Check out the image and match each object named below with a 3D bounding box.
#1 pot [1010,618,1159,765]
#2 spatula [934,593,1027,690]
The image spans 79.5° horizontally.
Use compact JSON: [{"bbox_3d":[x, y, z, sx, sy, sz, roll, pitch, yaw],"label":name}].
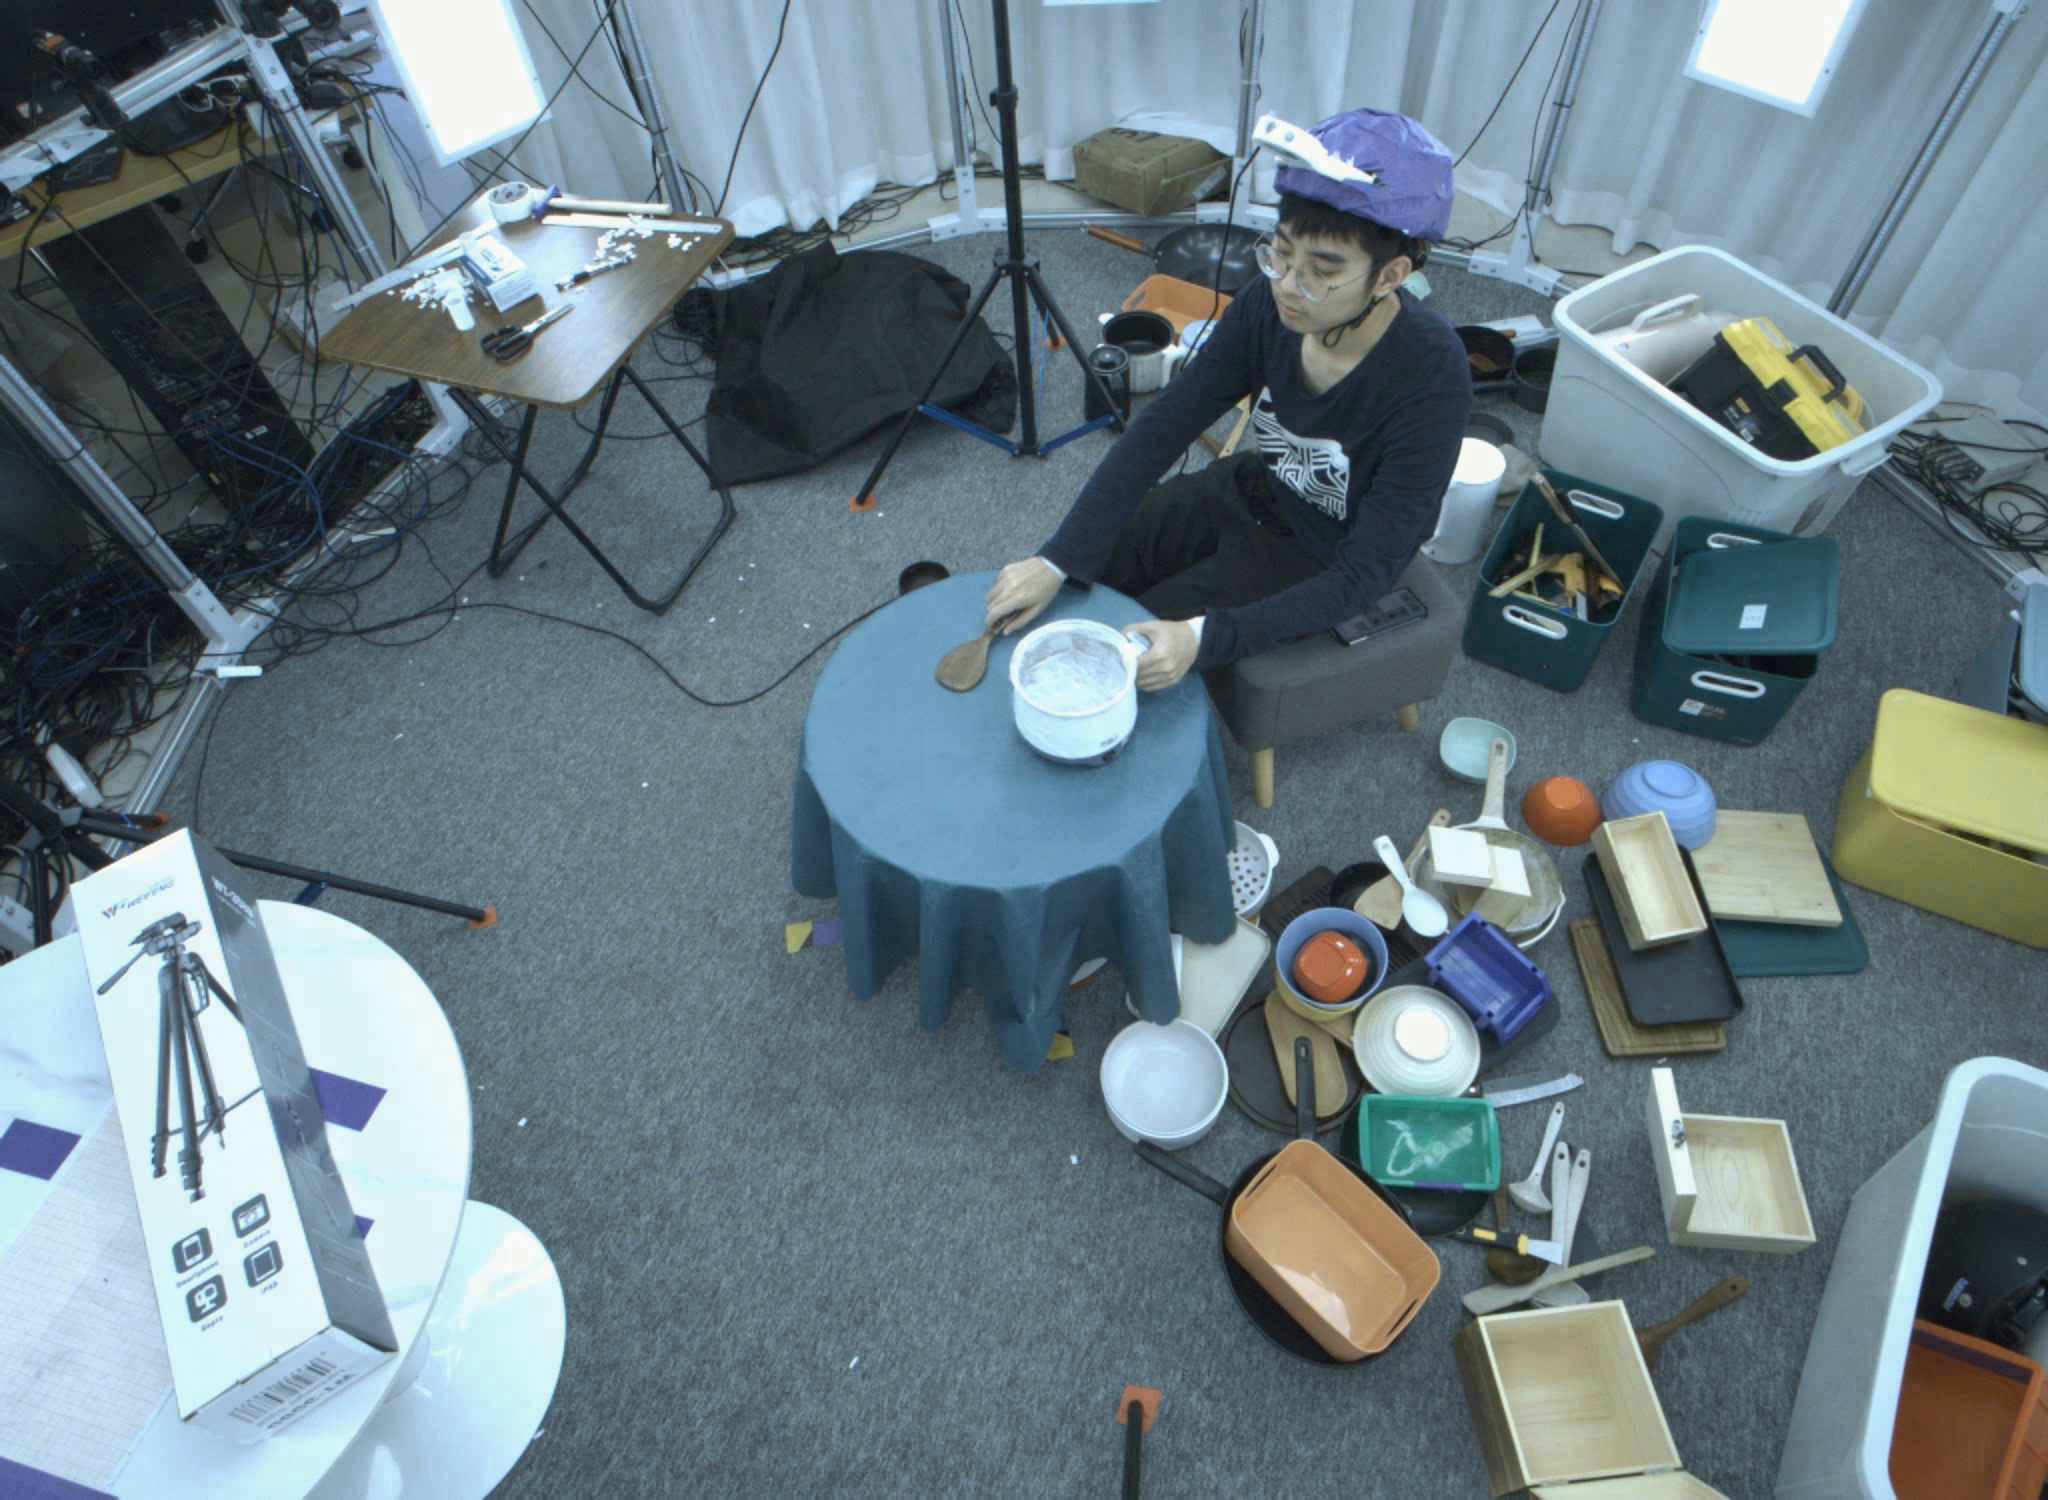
[{"bbox_3d":[0.094,-0.094,1.773,0.235,0.138,0.175,-31,62,-17],"label":"pot"},{"bbox_3d":[-0.059,-0.171,1.909,0.071,0.009,0.216,31,63,15],"label":"spatula"}]
